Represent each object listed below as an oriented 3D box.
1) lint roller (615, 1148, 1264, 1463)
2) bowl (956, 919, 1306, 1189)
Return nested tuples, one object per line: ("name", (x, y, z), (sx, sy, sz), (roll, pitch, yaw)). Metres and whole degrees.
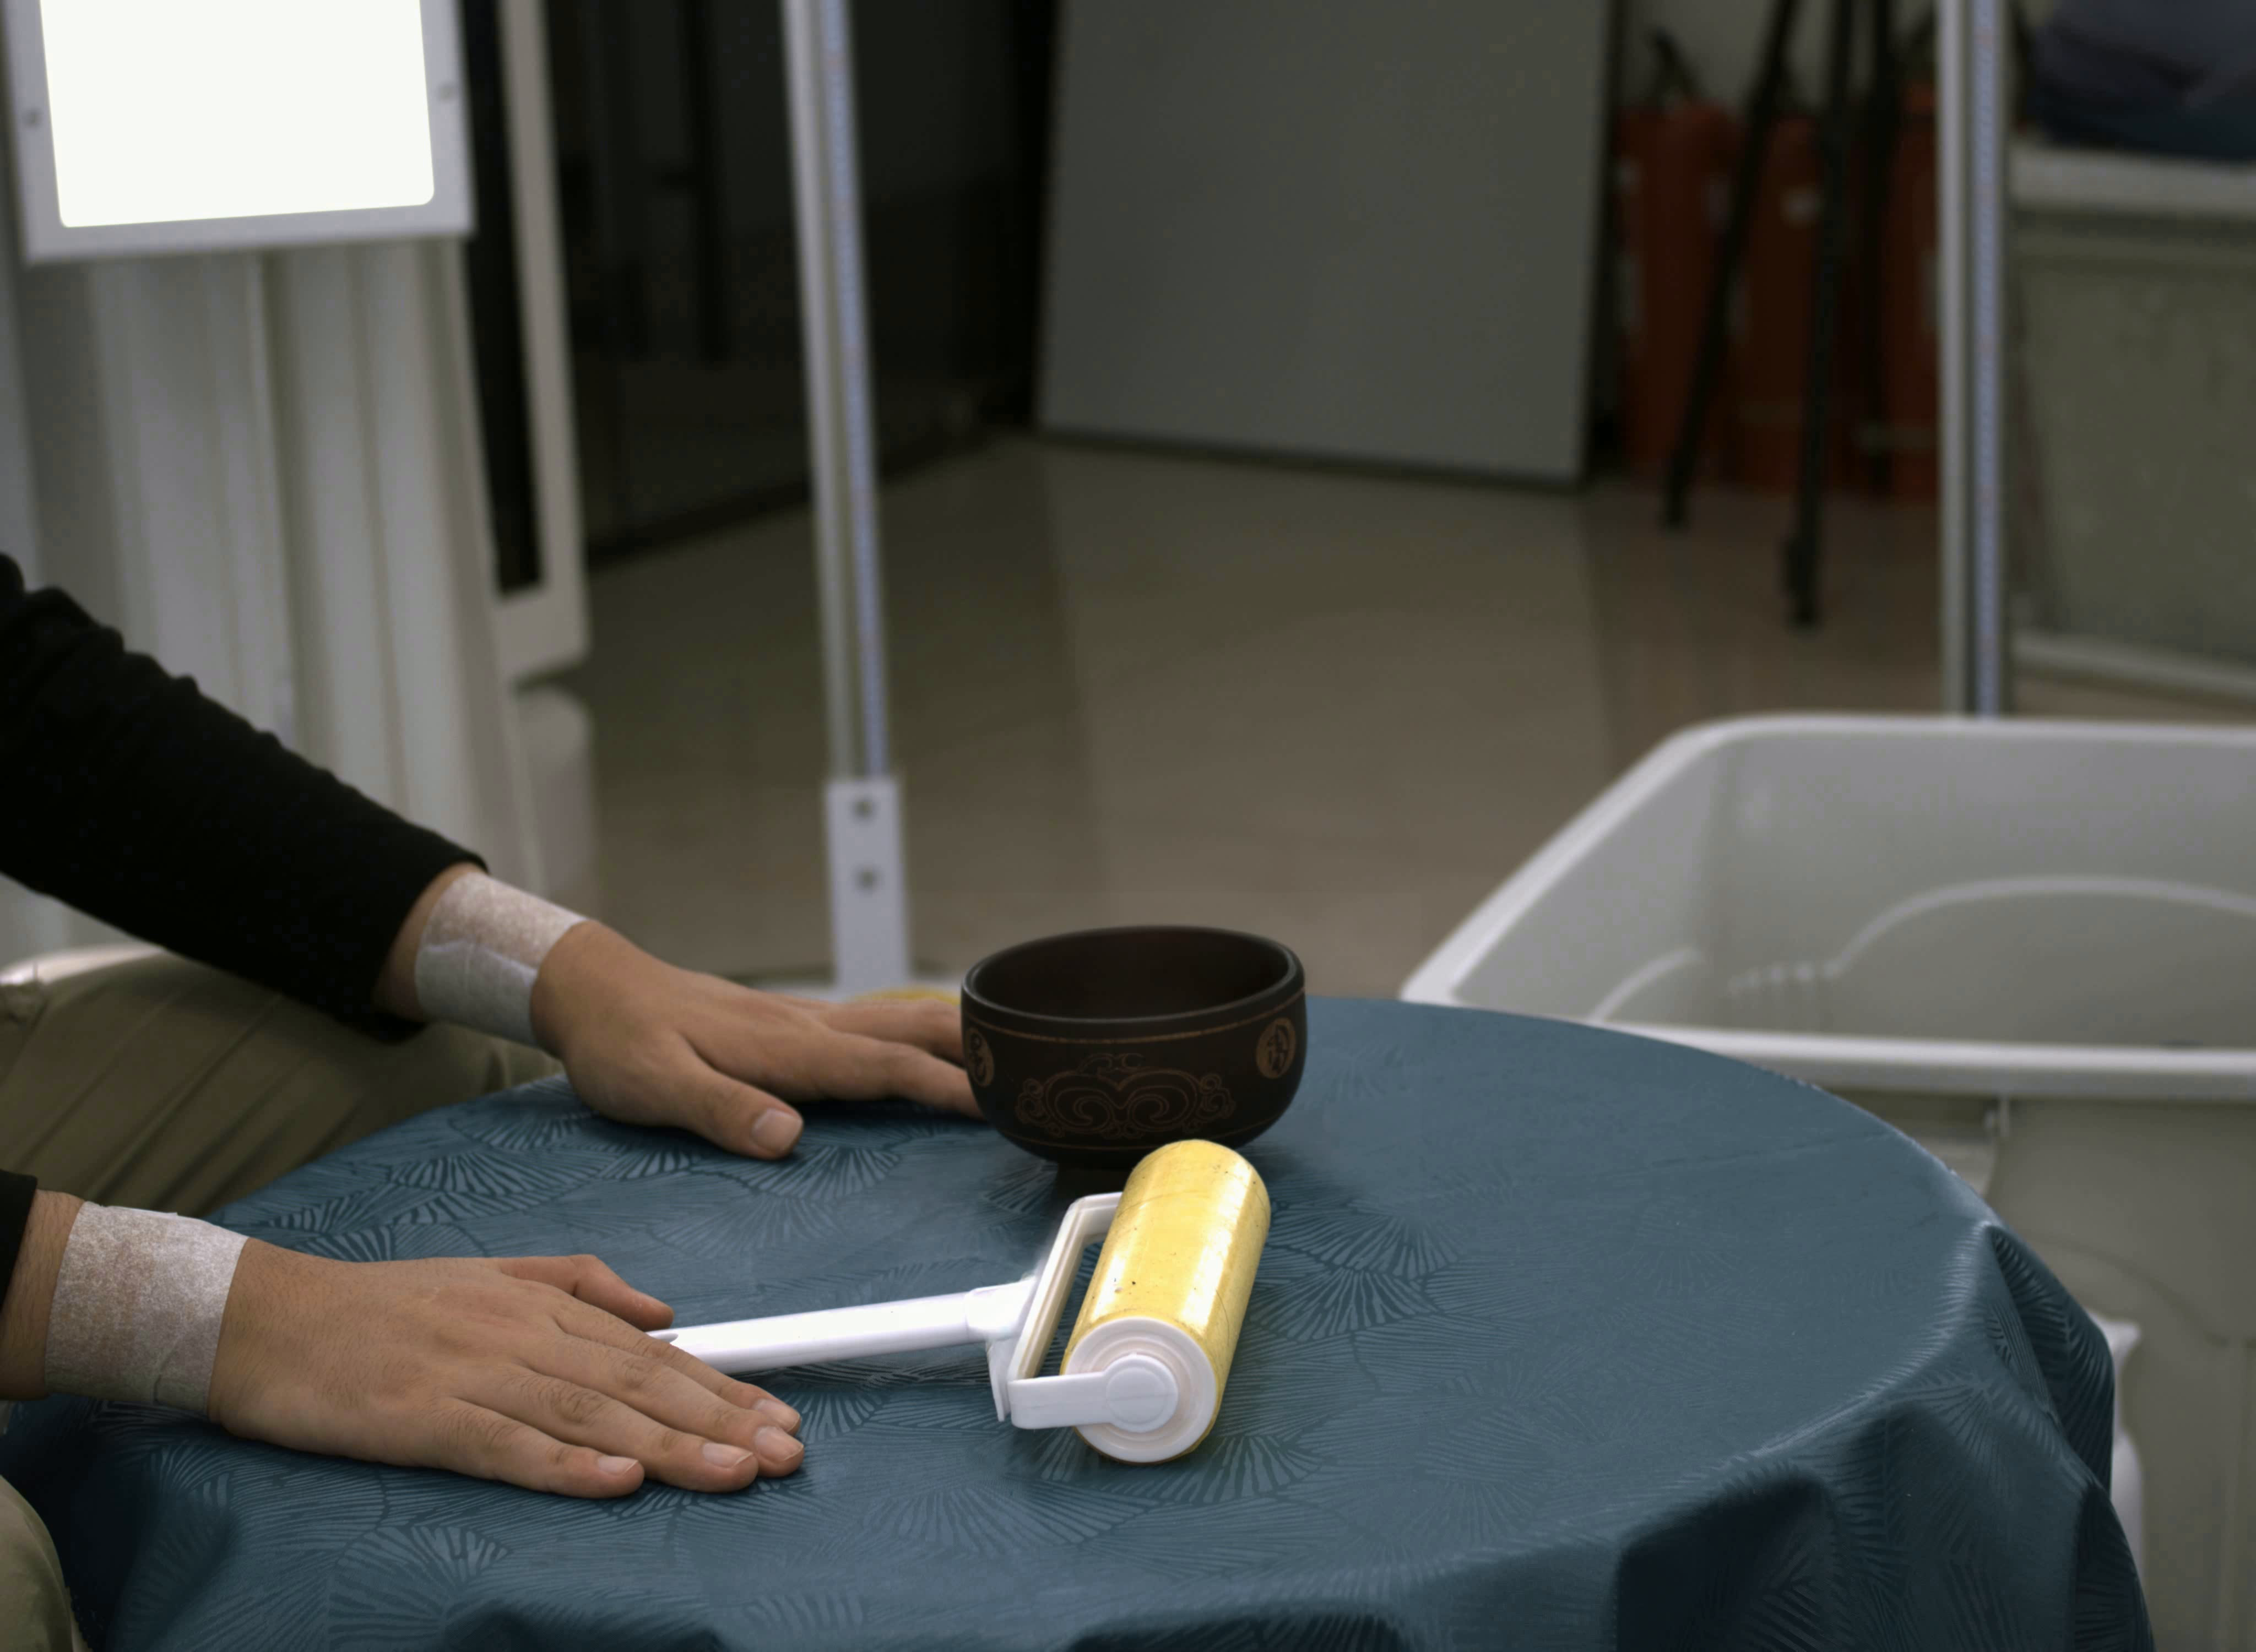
("lint roller", (-0.058, 0.139, 1.602), (0.190, 0.052, 0.174), (2, 14, 5))
("bowl", (0.002, 0.079, 1.784), (0.116, 0.070, 0.118), (-3, 13, 0))
